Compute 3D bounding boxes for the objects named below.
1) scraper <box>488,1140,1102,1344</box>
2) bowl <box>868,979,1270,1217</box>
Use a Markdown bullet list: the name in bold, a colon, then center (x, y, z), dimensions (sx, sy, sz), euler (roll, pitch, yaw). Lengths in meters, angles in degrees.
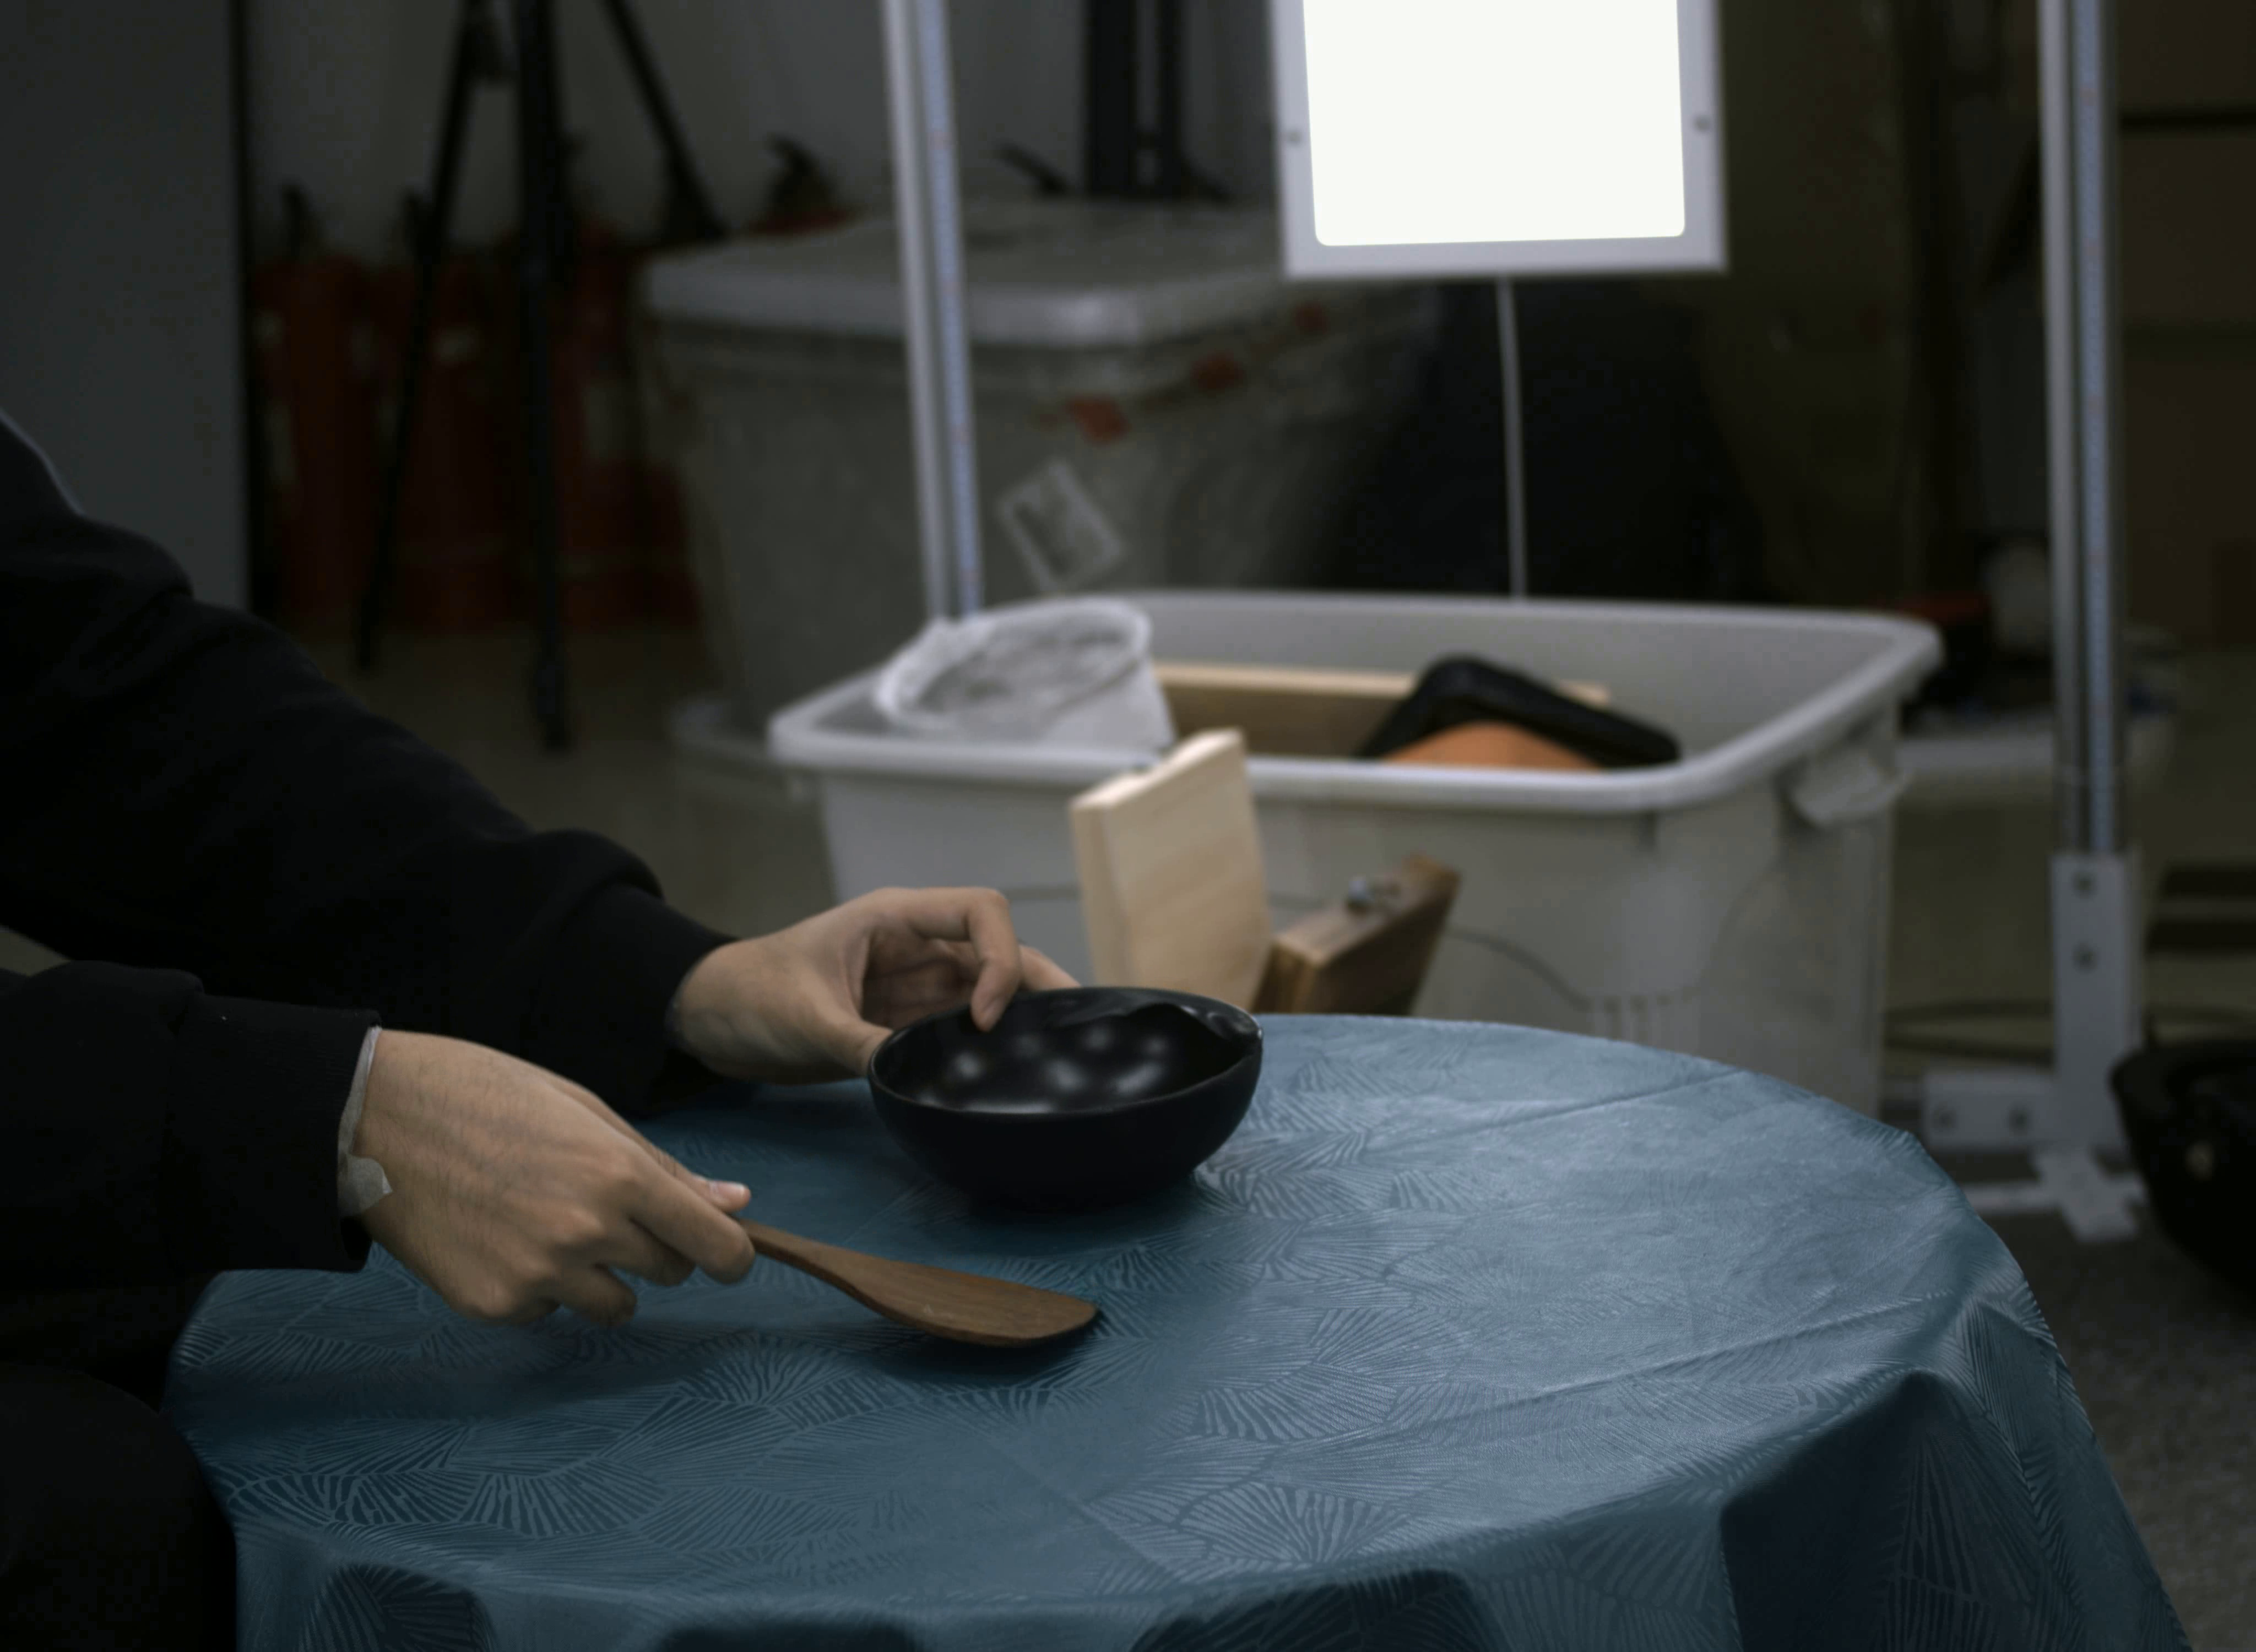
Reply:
- **scraper**: center (-0.111, 0.134, 1.783), dimensions (0.214, 0.011, 0.074), euler (16, 10, 20)
- **bowl**: center (-0.019, 0.099, 1.909), dimensions (0.140, 0.050, 0.140), euler (-6, 18, 1)
